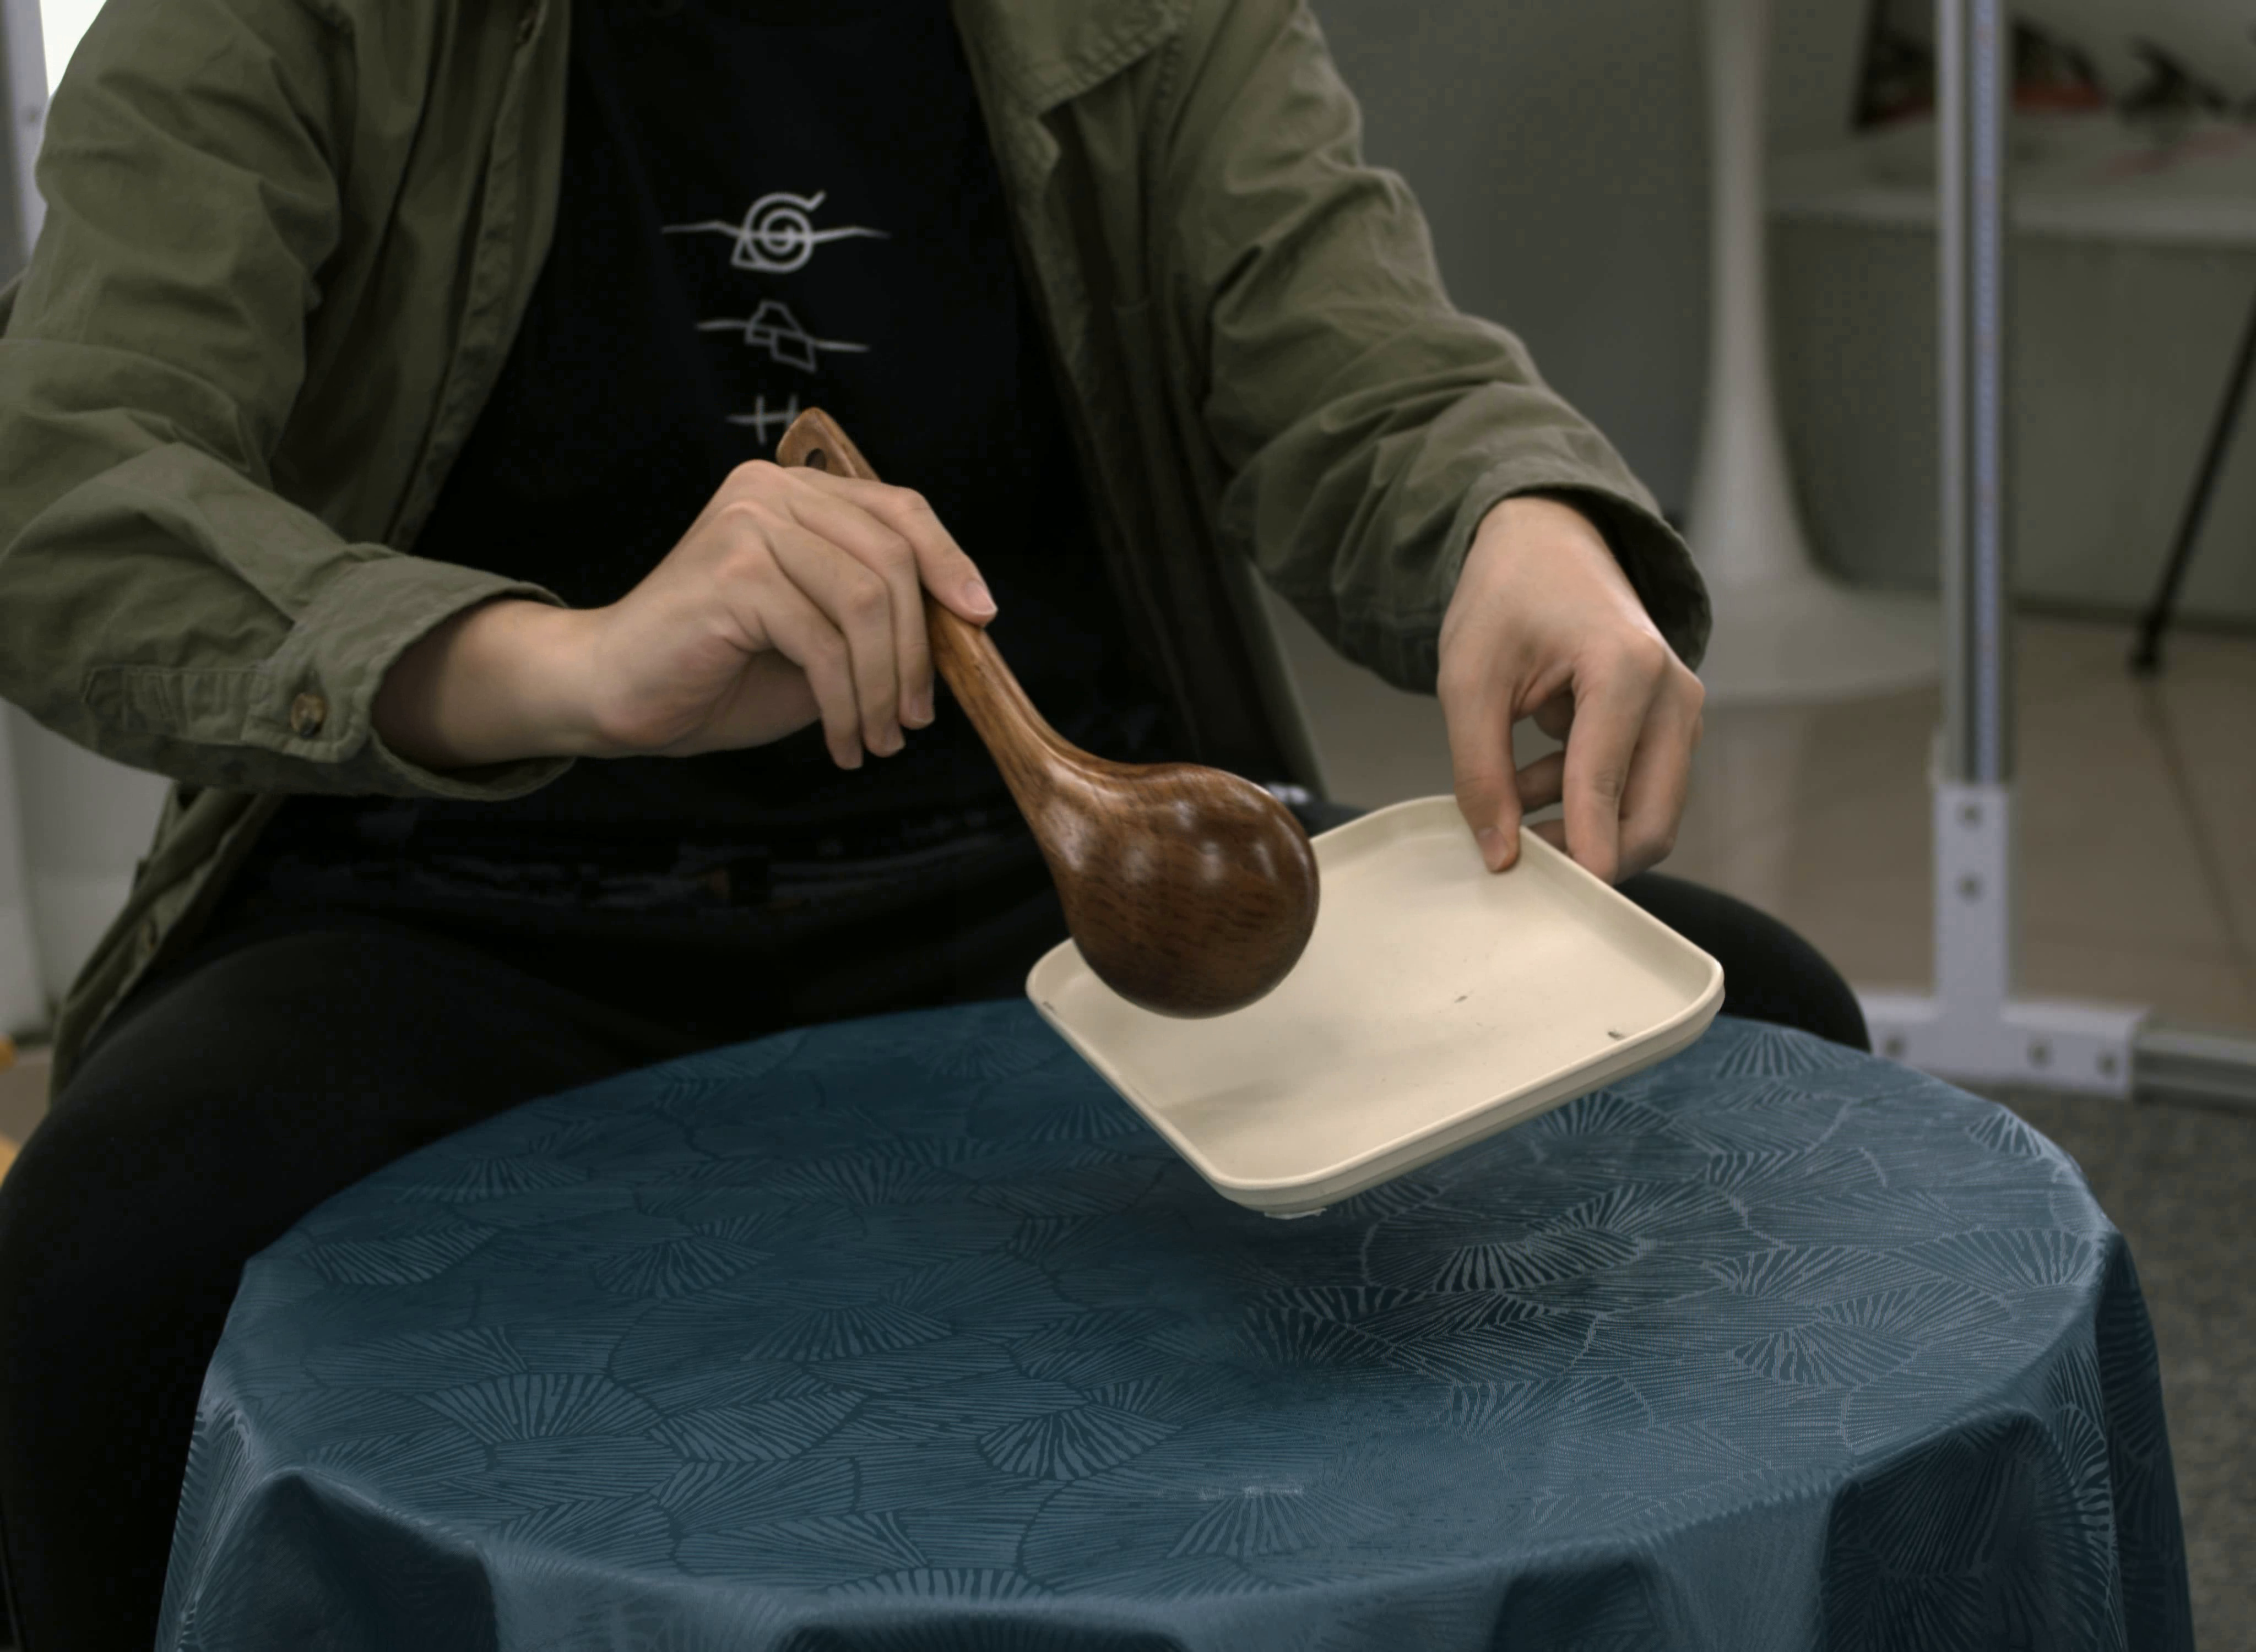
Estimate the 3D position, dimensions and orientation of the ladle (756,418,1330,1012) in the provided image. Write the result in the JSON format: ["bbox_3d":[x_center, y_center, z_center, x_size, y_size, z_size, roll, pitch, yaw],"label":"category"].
[{"bbox_3d":[-0.028,-0.044,1.706,0.075,0.082,0.277,23,19,-43],"label":"ladle"}]

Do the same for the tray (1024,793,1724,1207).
[{"bbox_3d":[0.073,0.052,1.673,0.169,0.017,0.242,-23,21,-11],"label":"tray"}]
